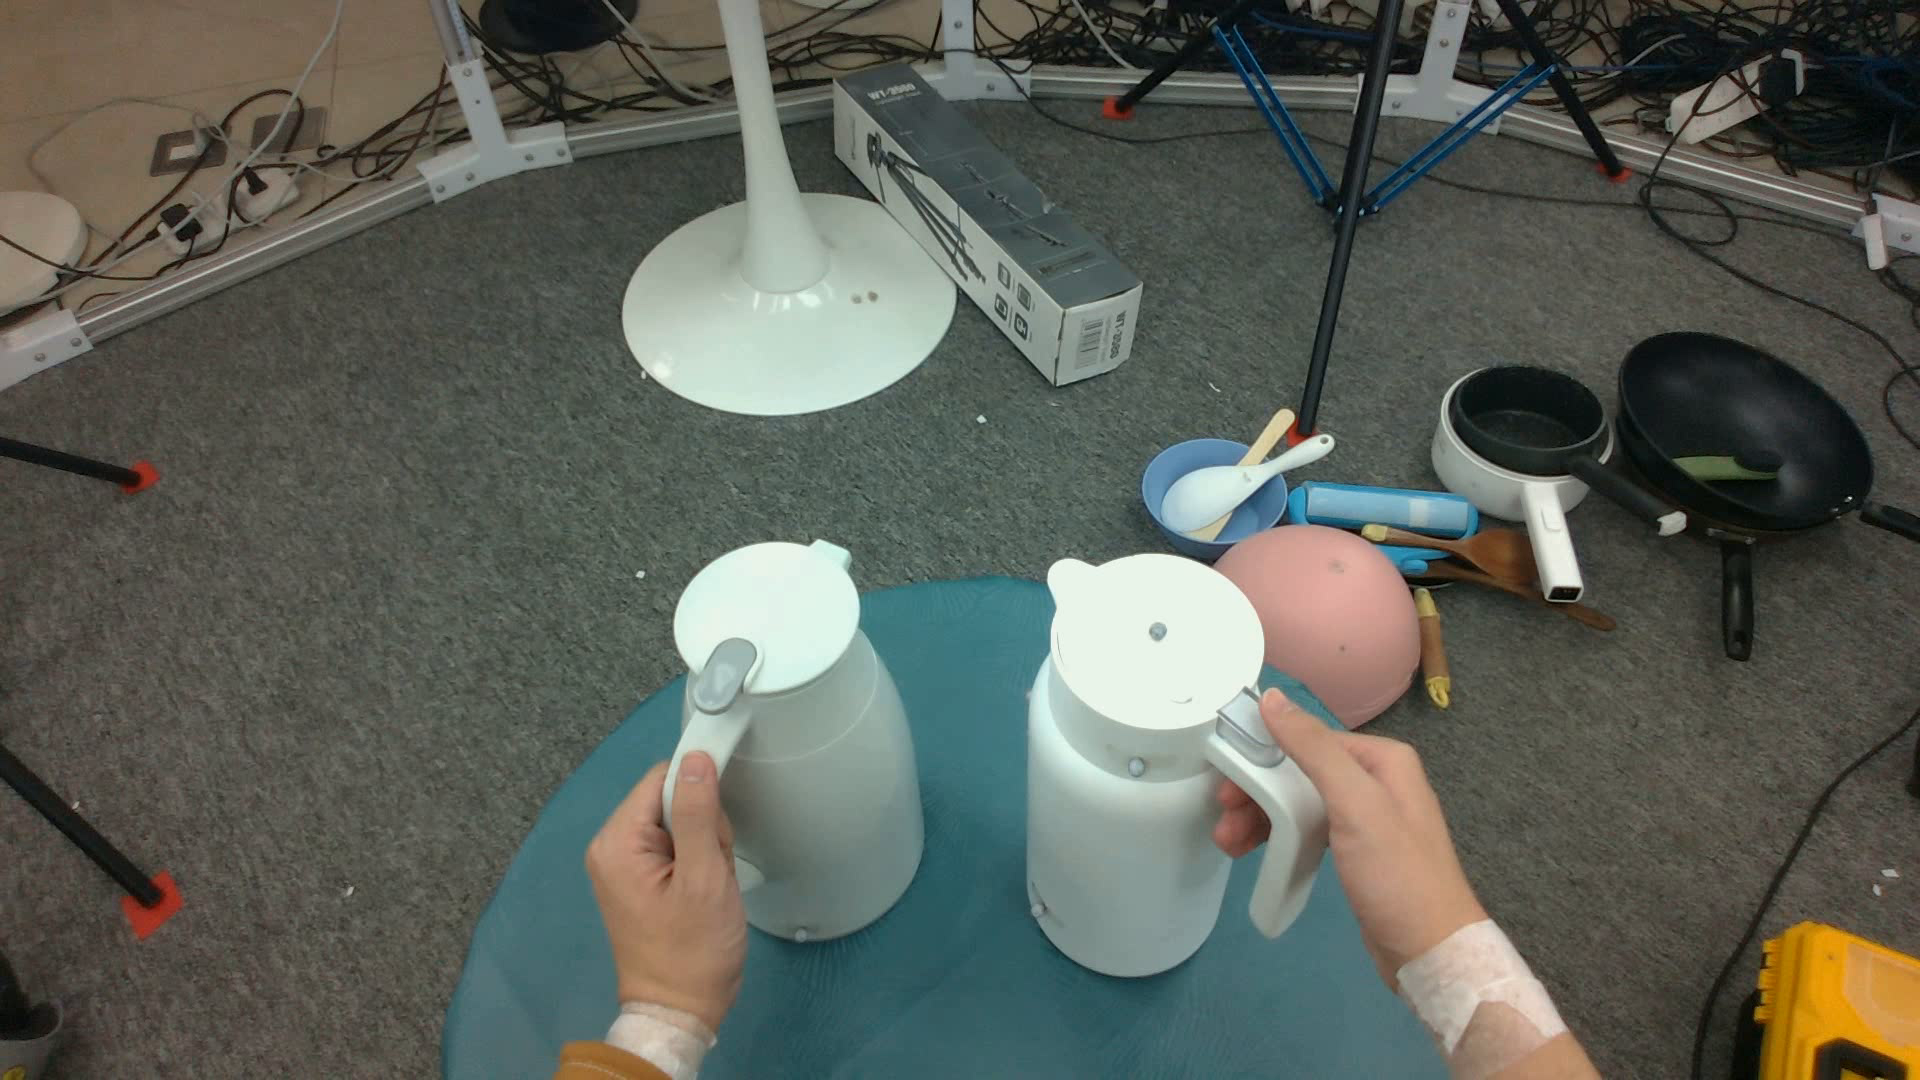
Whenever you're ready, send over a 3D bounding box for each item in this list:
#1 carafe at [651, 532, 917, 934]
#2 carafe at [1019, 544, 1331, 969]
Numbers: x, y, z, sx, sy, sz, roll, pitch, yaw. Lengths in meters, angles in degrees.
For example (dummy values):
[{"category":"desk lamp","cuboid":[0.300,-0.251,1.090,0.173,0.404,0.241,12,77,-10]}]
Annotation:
[{"category":"carafe","cuboid":[-0.104,0.120,0.751,0.132,0.247,0.168,19,55,17]},{"category":"carafe","cuboid":[0.103,0.132,0.724,0.124,0.267,0.173,-35,58,-26]}]
